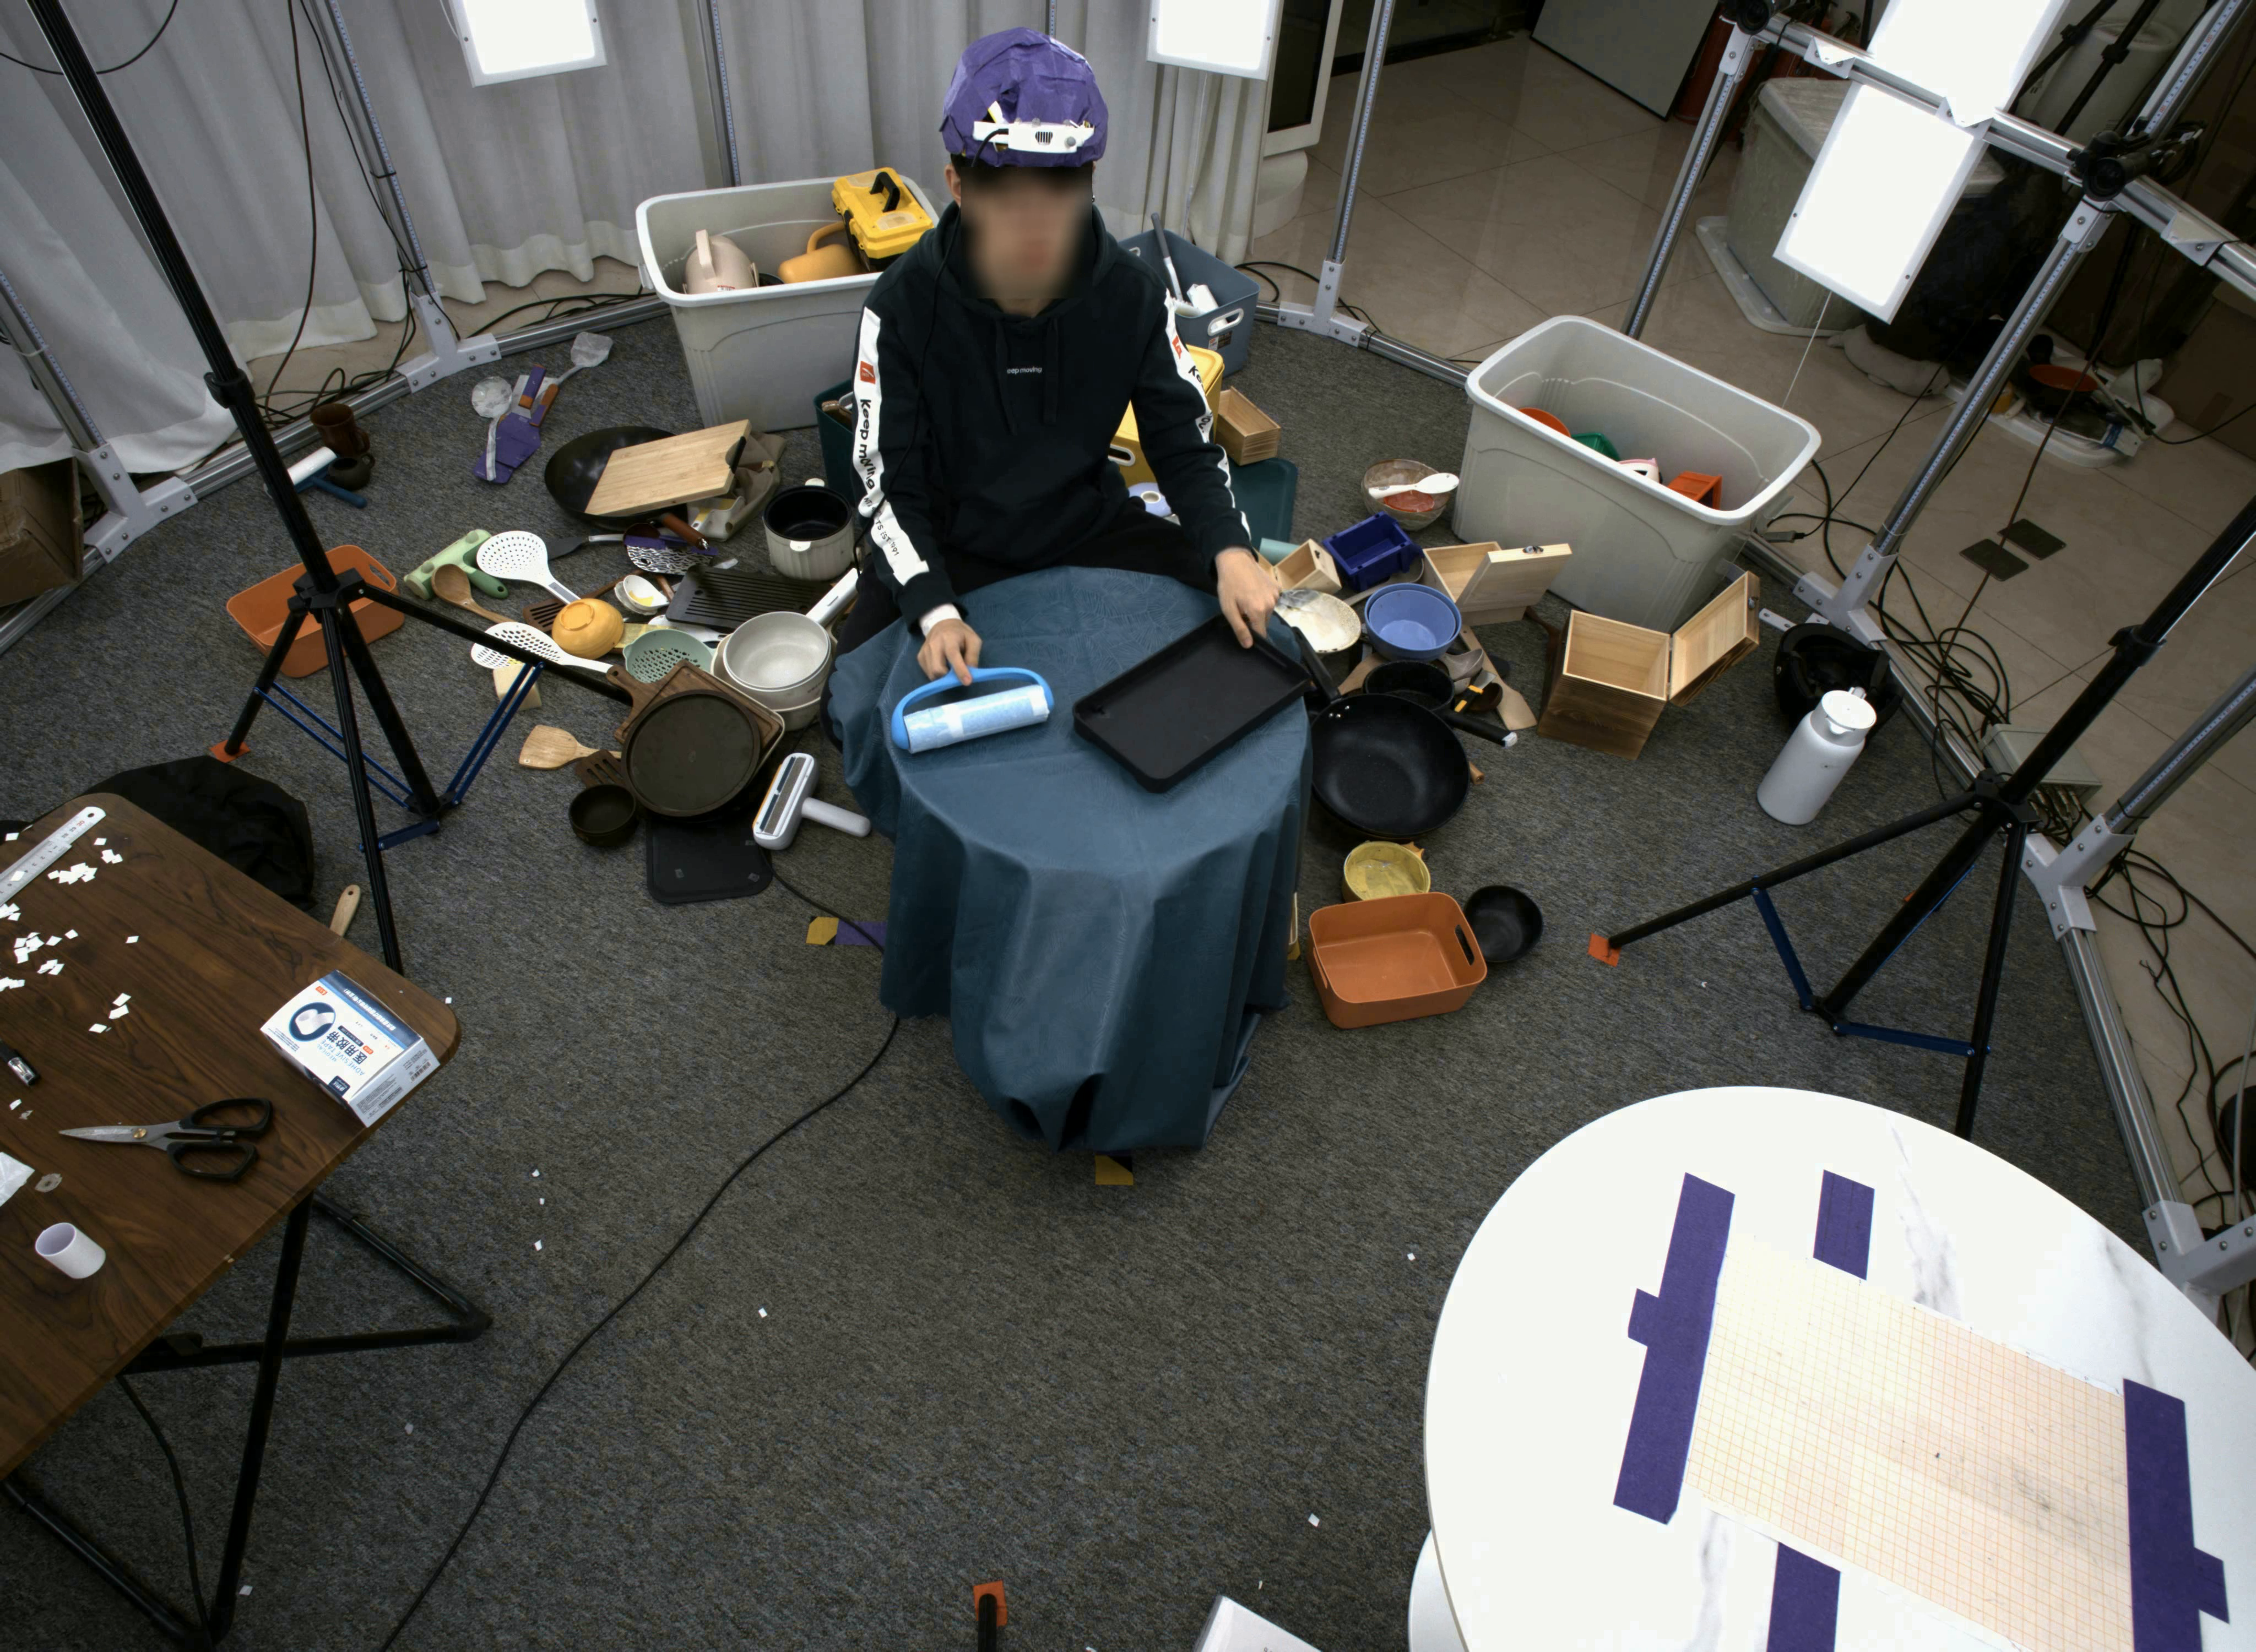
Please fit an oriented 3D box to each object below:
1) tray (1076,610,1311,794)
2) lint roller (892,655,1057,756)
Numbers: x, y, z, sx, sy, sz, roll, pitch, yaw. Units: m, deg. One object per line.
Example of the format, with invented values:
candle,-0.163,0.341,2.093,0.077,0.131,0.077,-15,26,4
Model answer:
tray,0.094,-0.181,1.807,0.187,0.036,0.321,38,58,26
lint roller,-0.231,-0.190,1.781,0.229,0.066,0.184,-18,54,-16
